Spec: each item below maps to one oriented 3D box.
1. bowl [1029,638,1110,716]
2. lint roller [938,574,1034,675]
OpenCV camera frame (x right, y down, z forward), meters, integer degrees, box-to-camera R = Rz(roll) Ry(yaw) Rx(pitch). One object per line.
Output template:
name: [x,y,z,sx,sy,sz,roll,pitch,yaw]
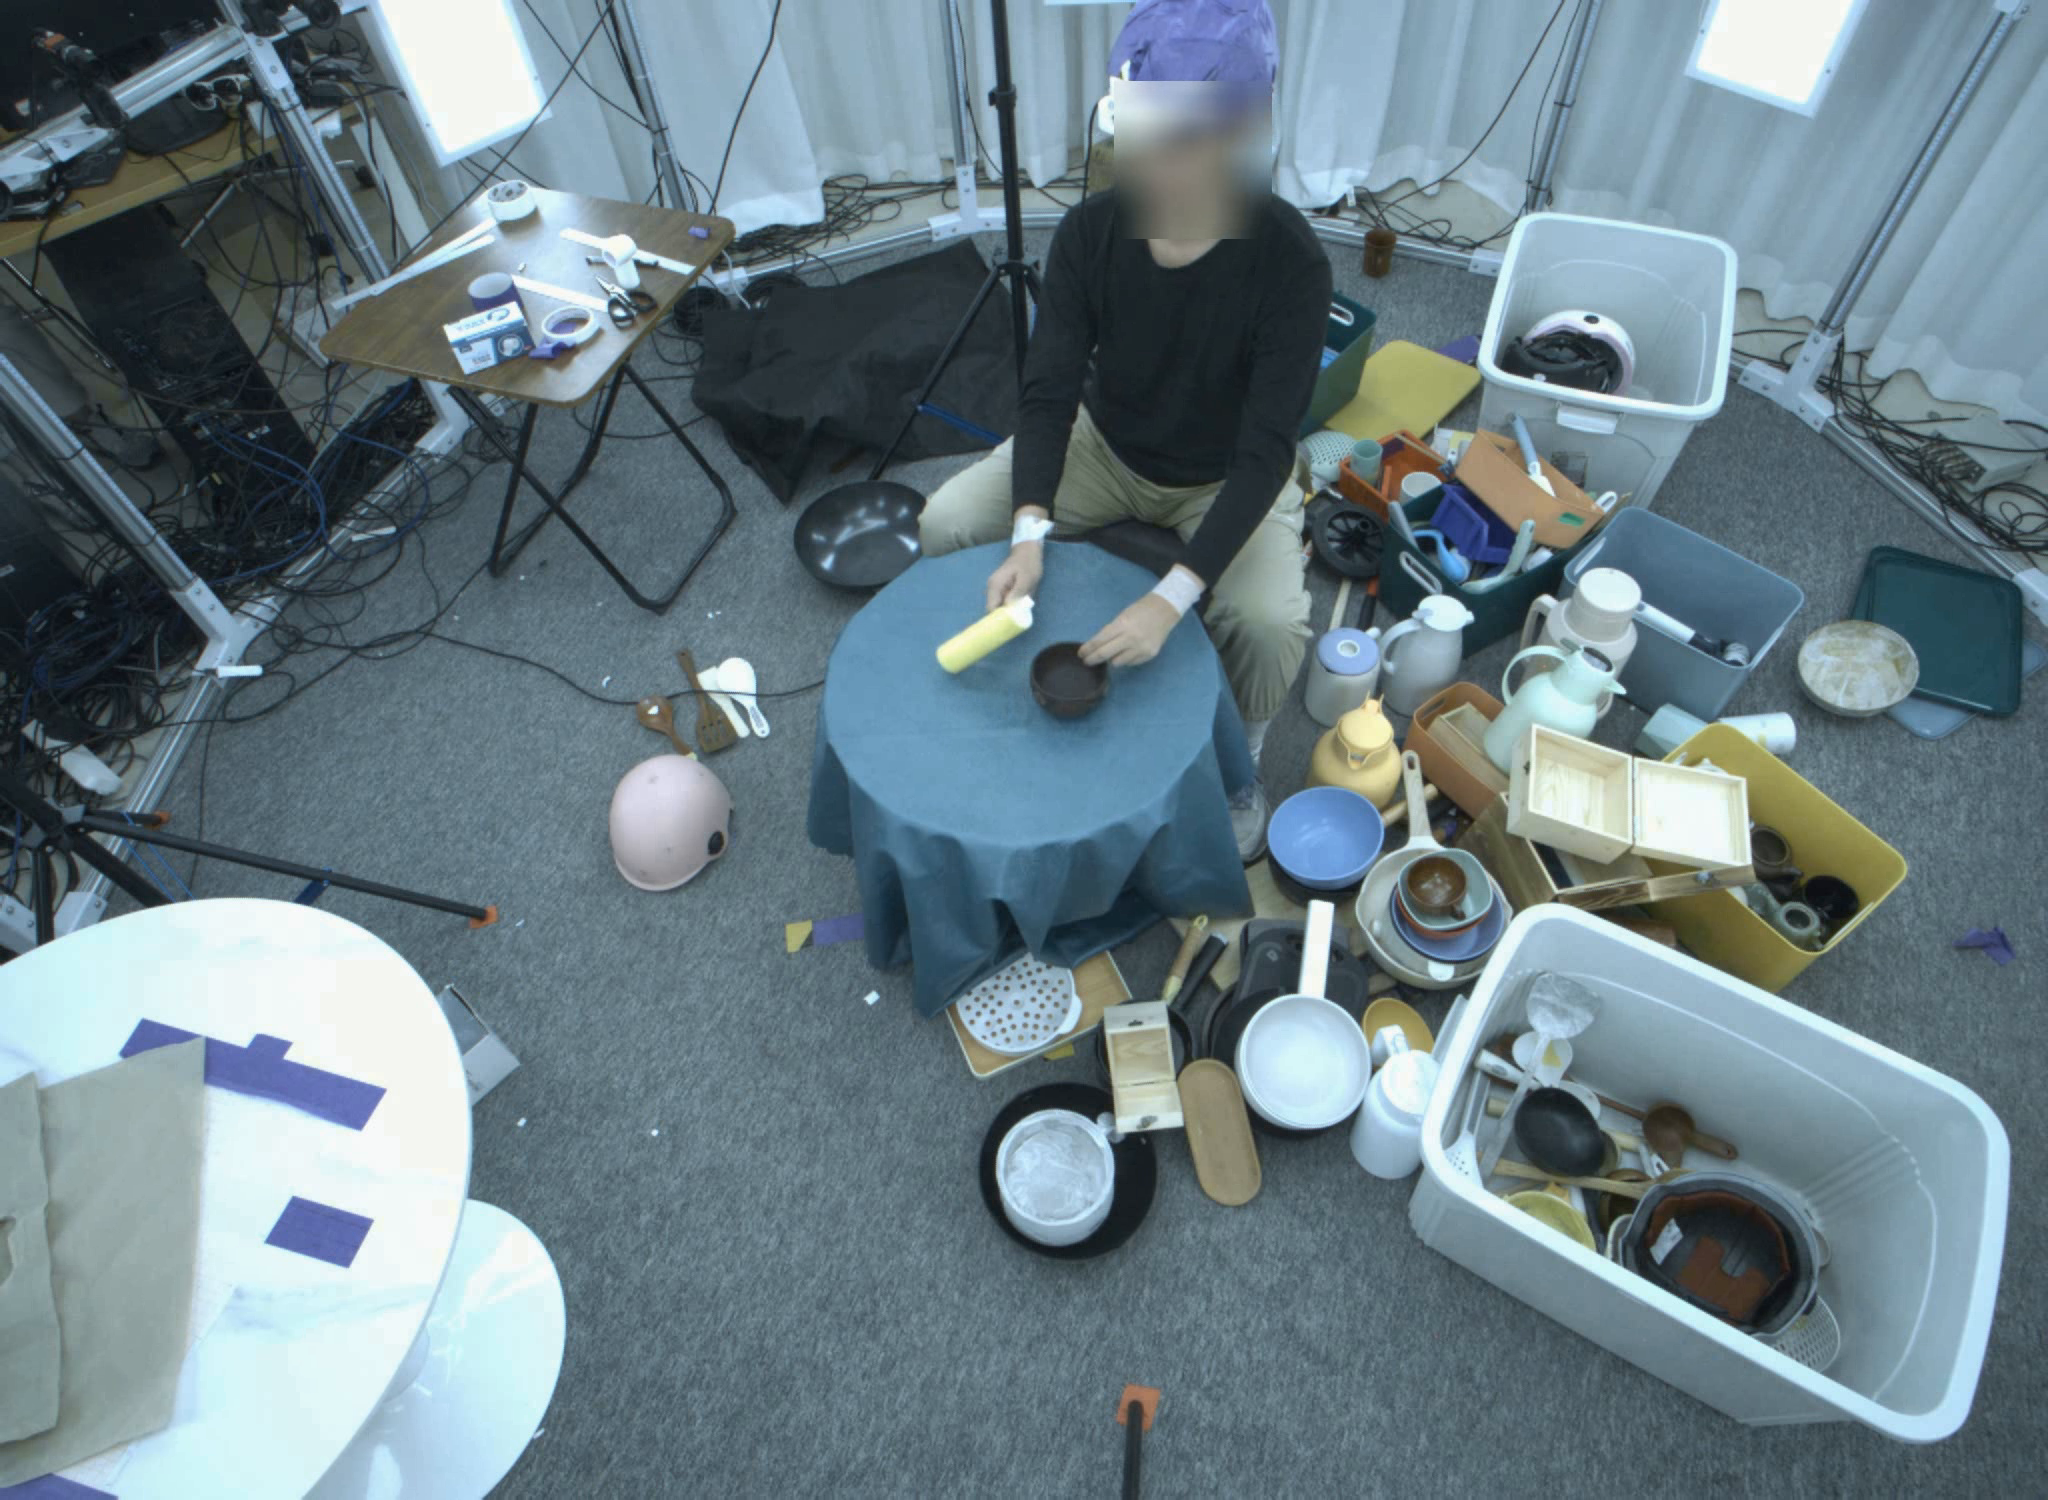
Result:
bowl: [0.067,-0.099,1.809,0.118,0.070,0.117,1,55,0]
lint roller: [-0.042,-0.214,1.851,0.052,0.172,0.191,39,42,-25]
